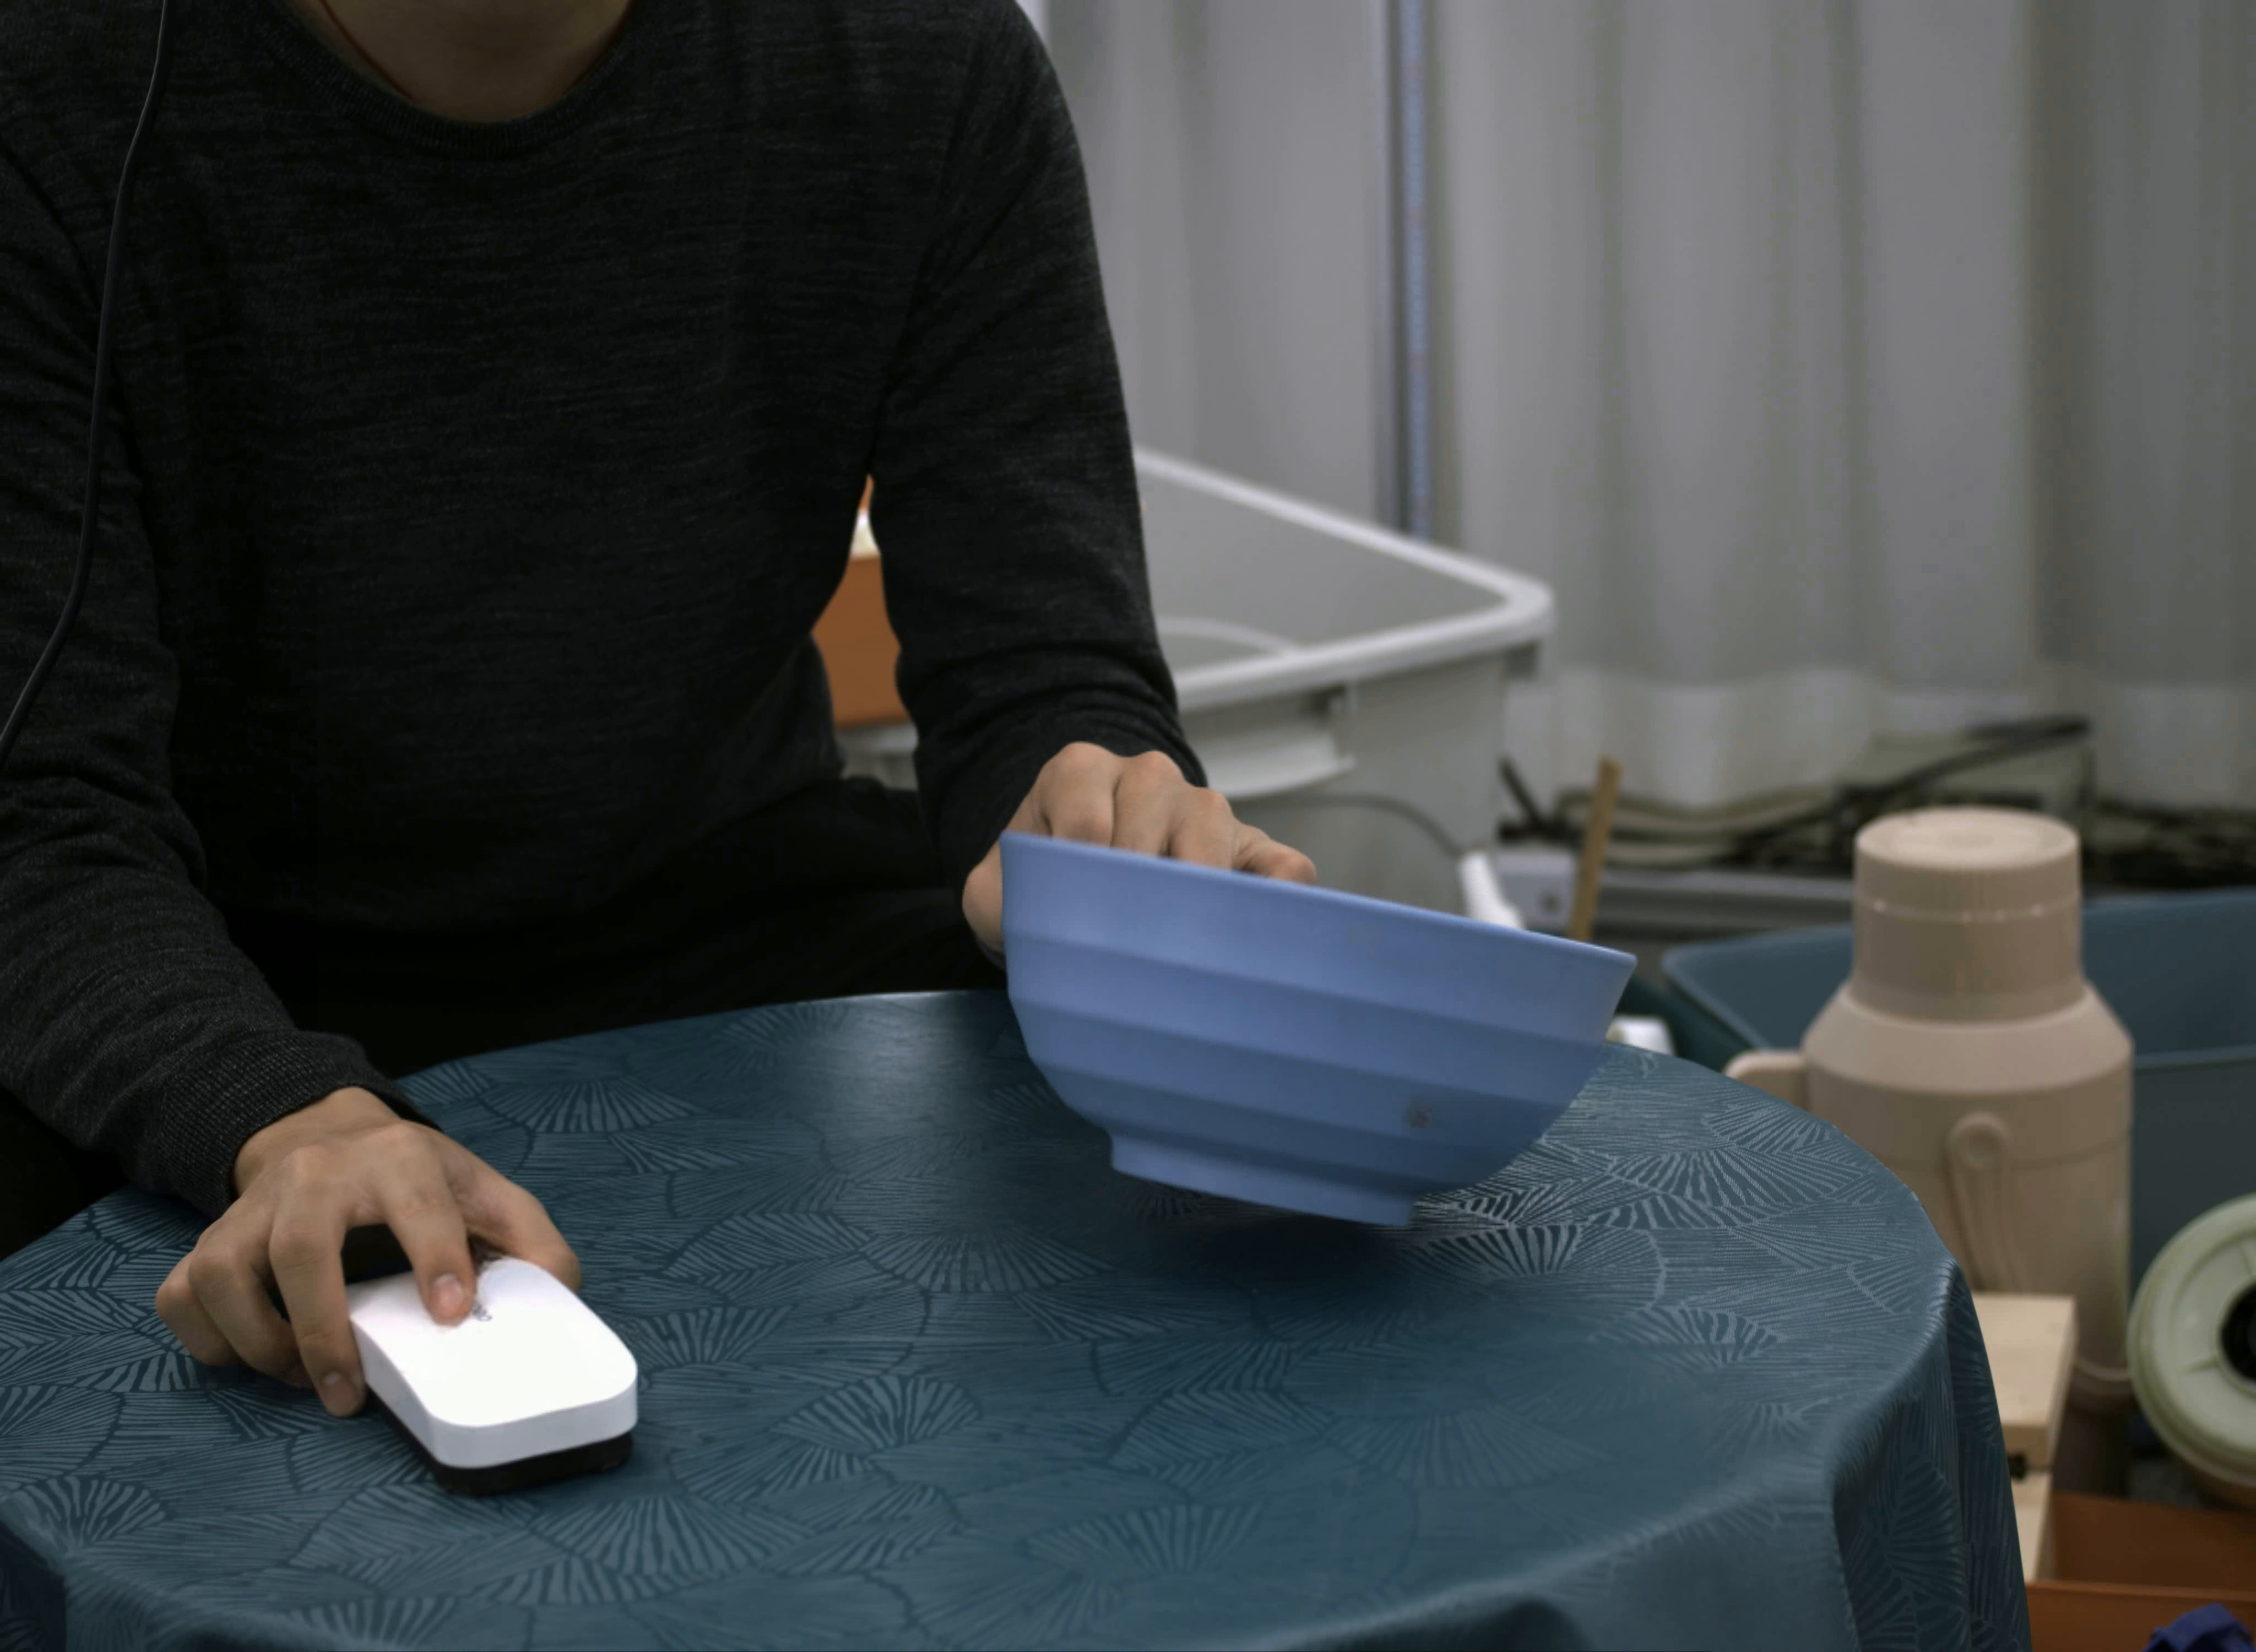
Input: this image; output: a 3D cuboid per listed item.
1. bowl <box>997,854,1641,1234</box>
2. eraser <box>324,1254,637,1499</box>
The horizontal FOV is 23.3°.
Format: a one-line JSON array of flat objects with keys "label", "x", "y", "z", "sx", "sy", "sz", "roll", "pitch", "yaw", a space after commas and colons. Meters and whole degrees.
[{"label": "bowl", "x": 0.050, "y": 0.069, "z": 1.649, "sx": 0.196, "sy": 0.096, "sz": 0.196, "roll": 9, "pitch": 0, "yaw": 0}, {"label": "eraser", "x": -0.183, "y": 0.151, "z": 1.550, "sx": 0.063, "sy": 0.034, "sz": 0.132, "roll": -9, "pitch": 17, "yaw": -21}]
